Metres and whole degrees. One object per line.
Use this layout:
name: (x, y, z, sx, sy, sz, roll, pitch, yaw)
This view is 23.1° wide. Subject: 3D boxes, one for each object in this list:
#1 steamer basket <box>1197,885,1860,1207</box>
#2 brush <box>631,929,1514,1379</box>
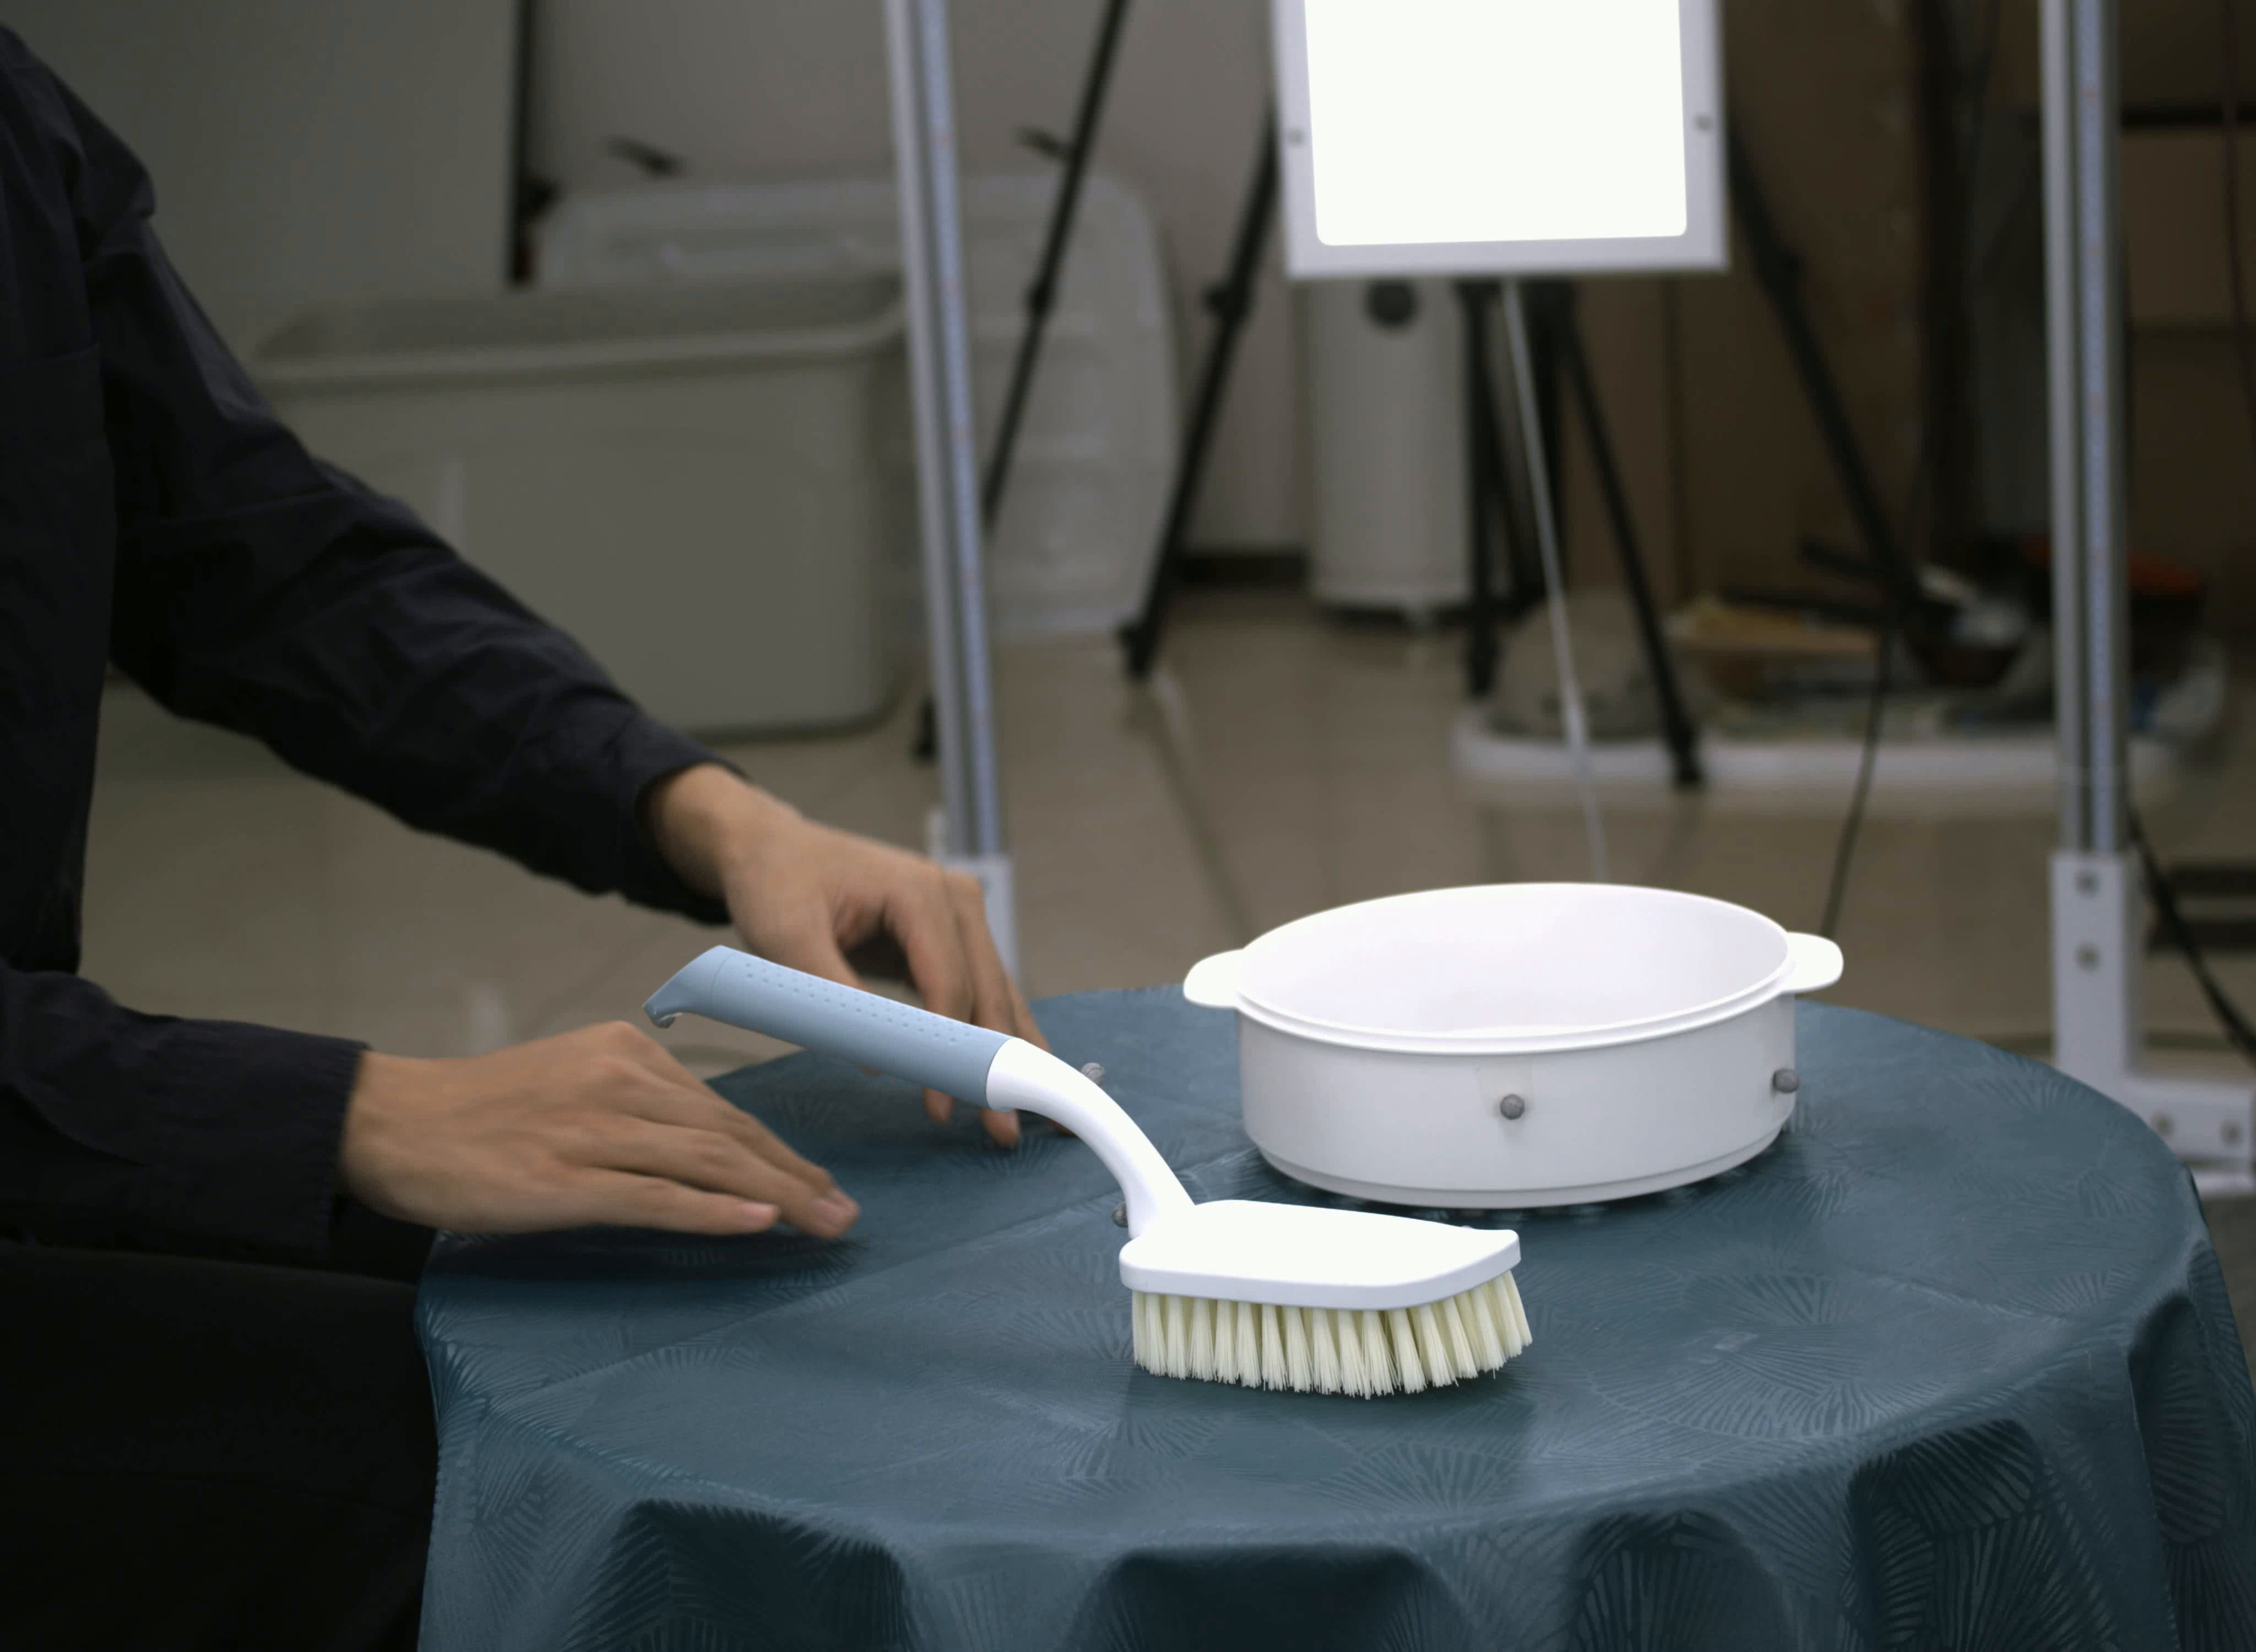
steamer basket: (0.140, 0.076, 1.910, 0.232, 0.069, 0.200, -2, 13, 9)
brush: (-0.023, 0.118, 1.761, 0.331, 0.084, 0.082, 16, -14, 28)
